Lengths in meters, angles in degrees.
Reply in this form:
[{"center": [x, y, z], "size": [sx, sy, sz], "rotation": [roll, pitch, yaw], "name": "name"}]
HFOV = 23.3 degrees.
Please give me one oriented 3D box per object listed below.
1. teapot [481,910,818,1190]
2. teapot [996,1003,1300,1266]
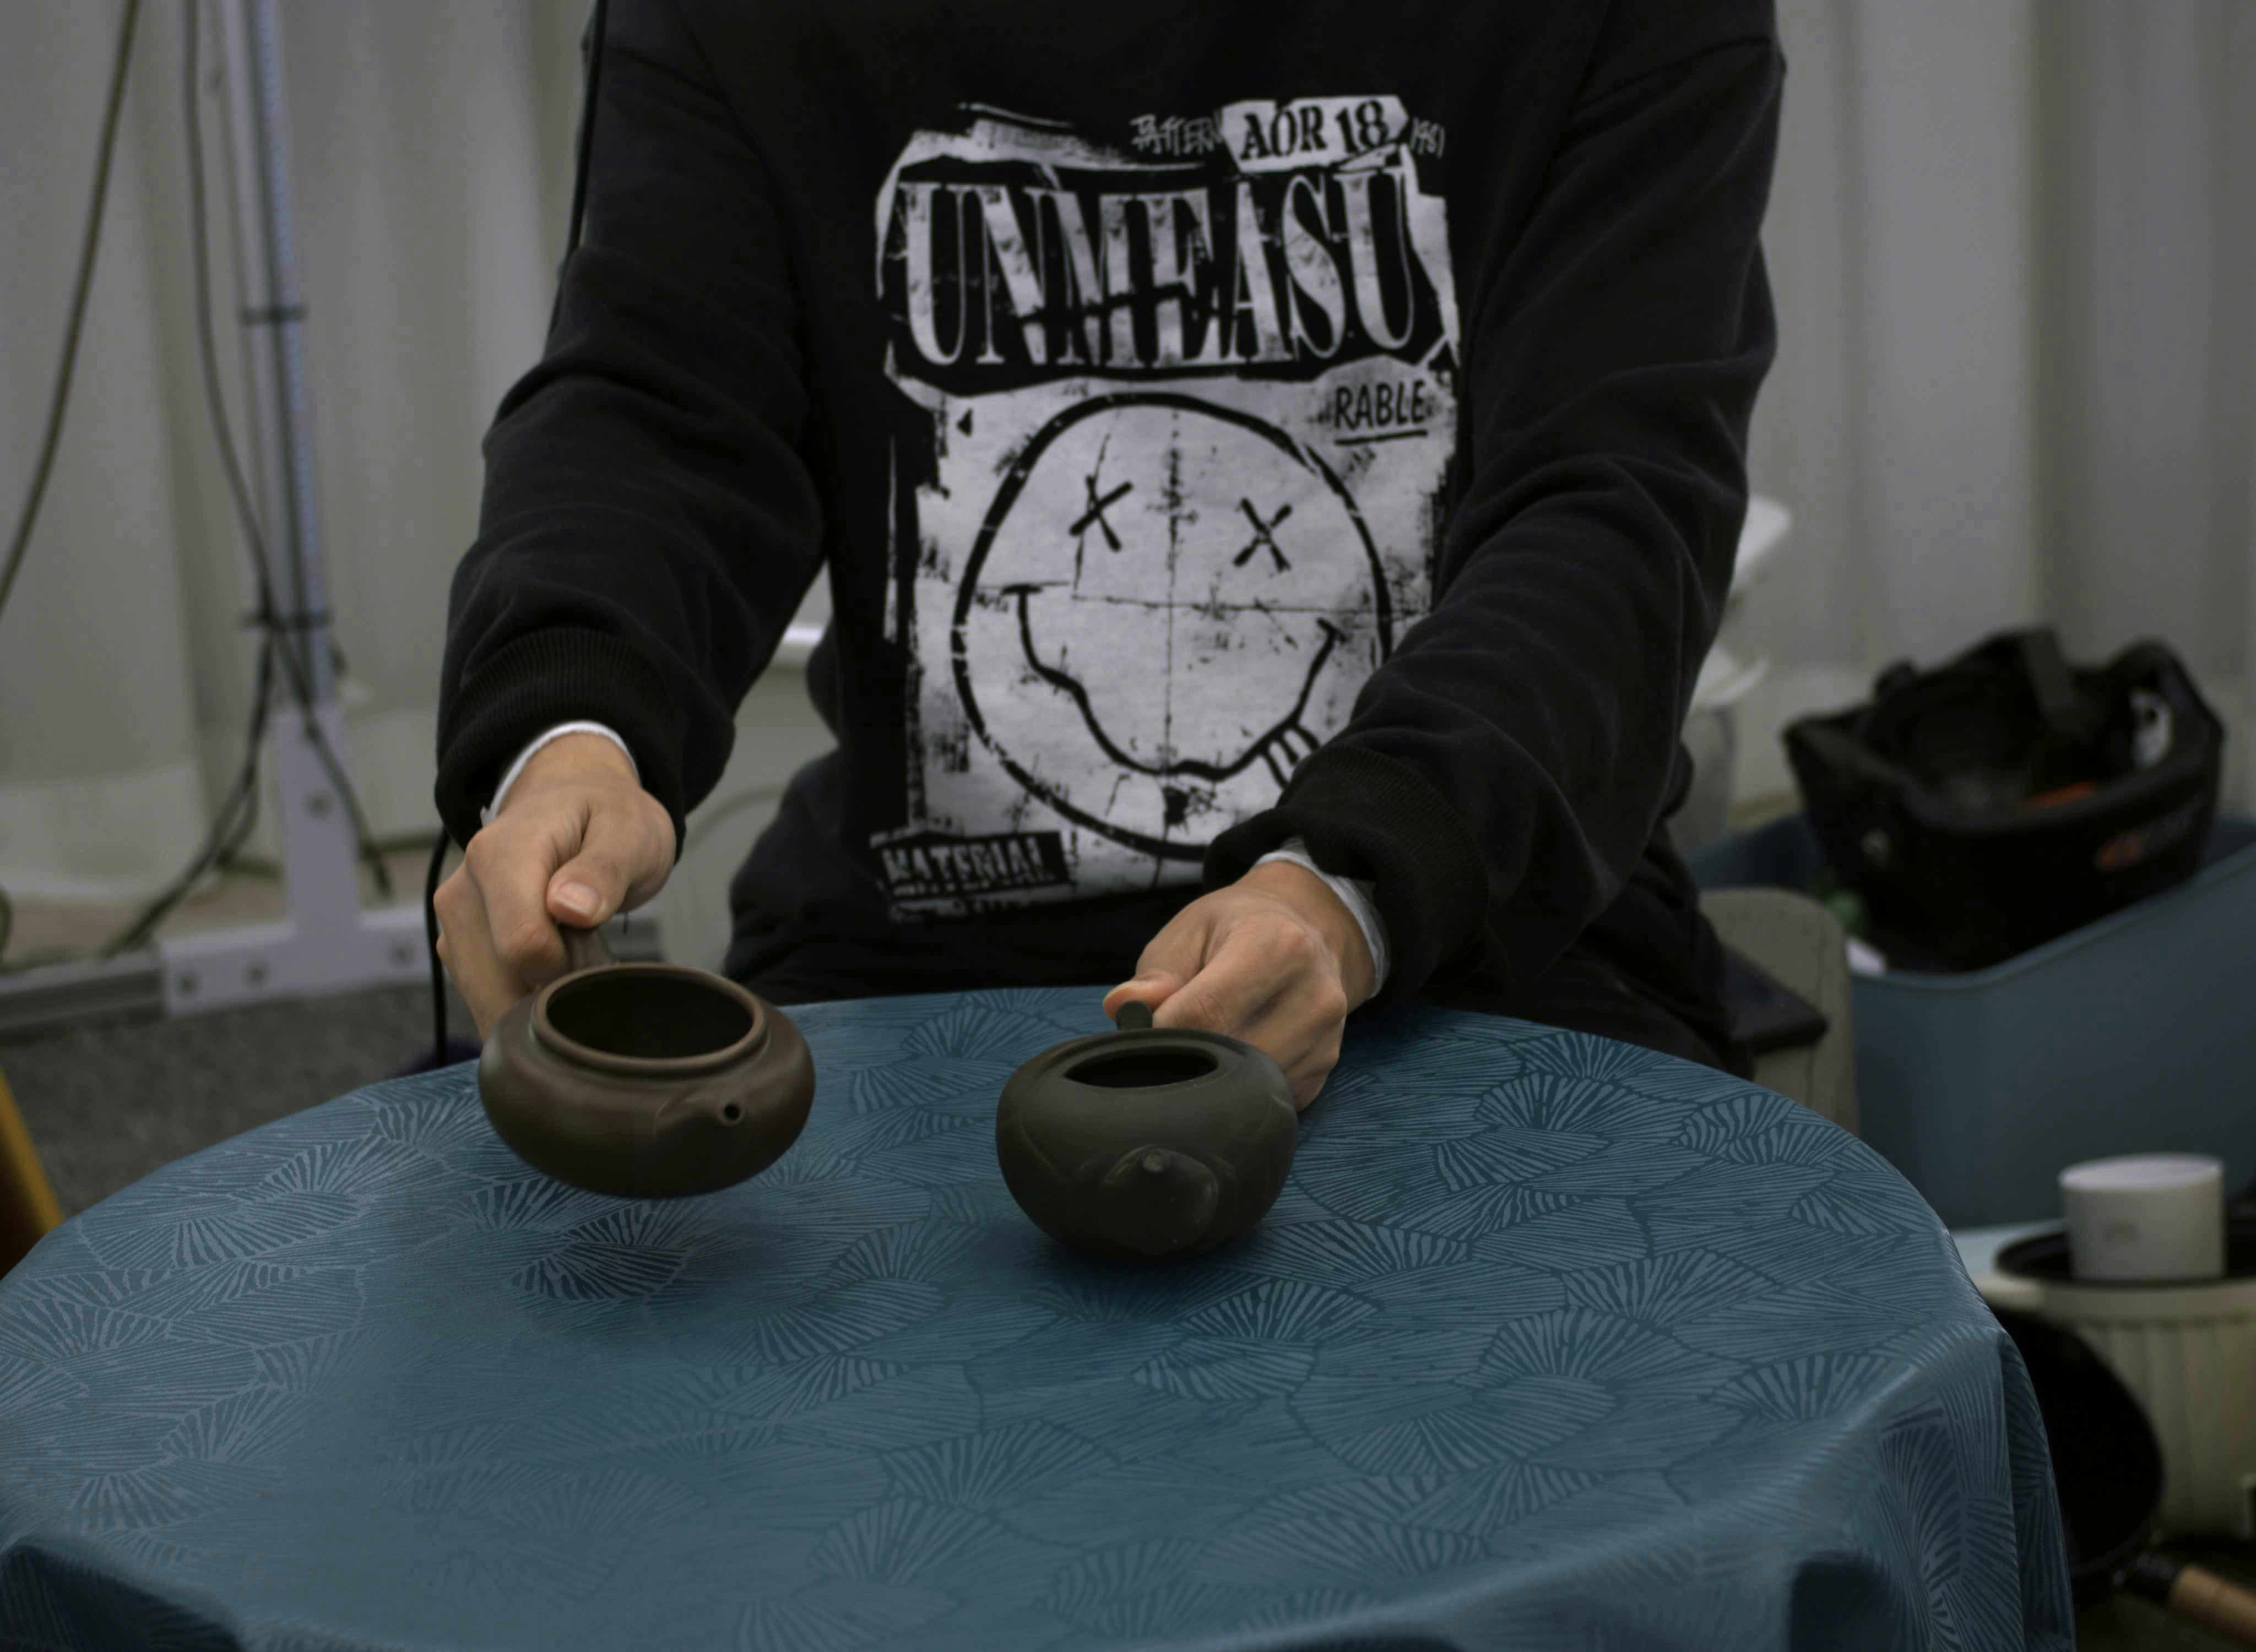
[{"center": [-0.147, 0.071, 1.667], "size": [0.102, 0.053, 0.155], "rotation": [-7, 27, -29], "name": "teapot"}, {"center": [0.006, 0.095, 1.663], "size": [0.092, 0.064, 0.155], "rotation": [-2, 17, -1], "name": "teapot"}]
